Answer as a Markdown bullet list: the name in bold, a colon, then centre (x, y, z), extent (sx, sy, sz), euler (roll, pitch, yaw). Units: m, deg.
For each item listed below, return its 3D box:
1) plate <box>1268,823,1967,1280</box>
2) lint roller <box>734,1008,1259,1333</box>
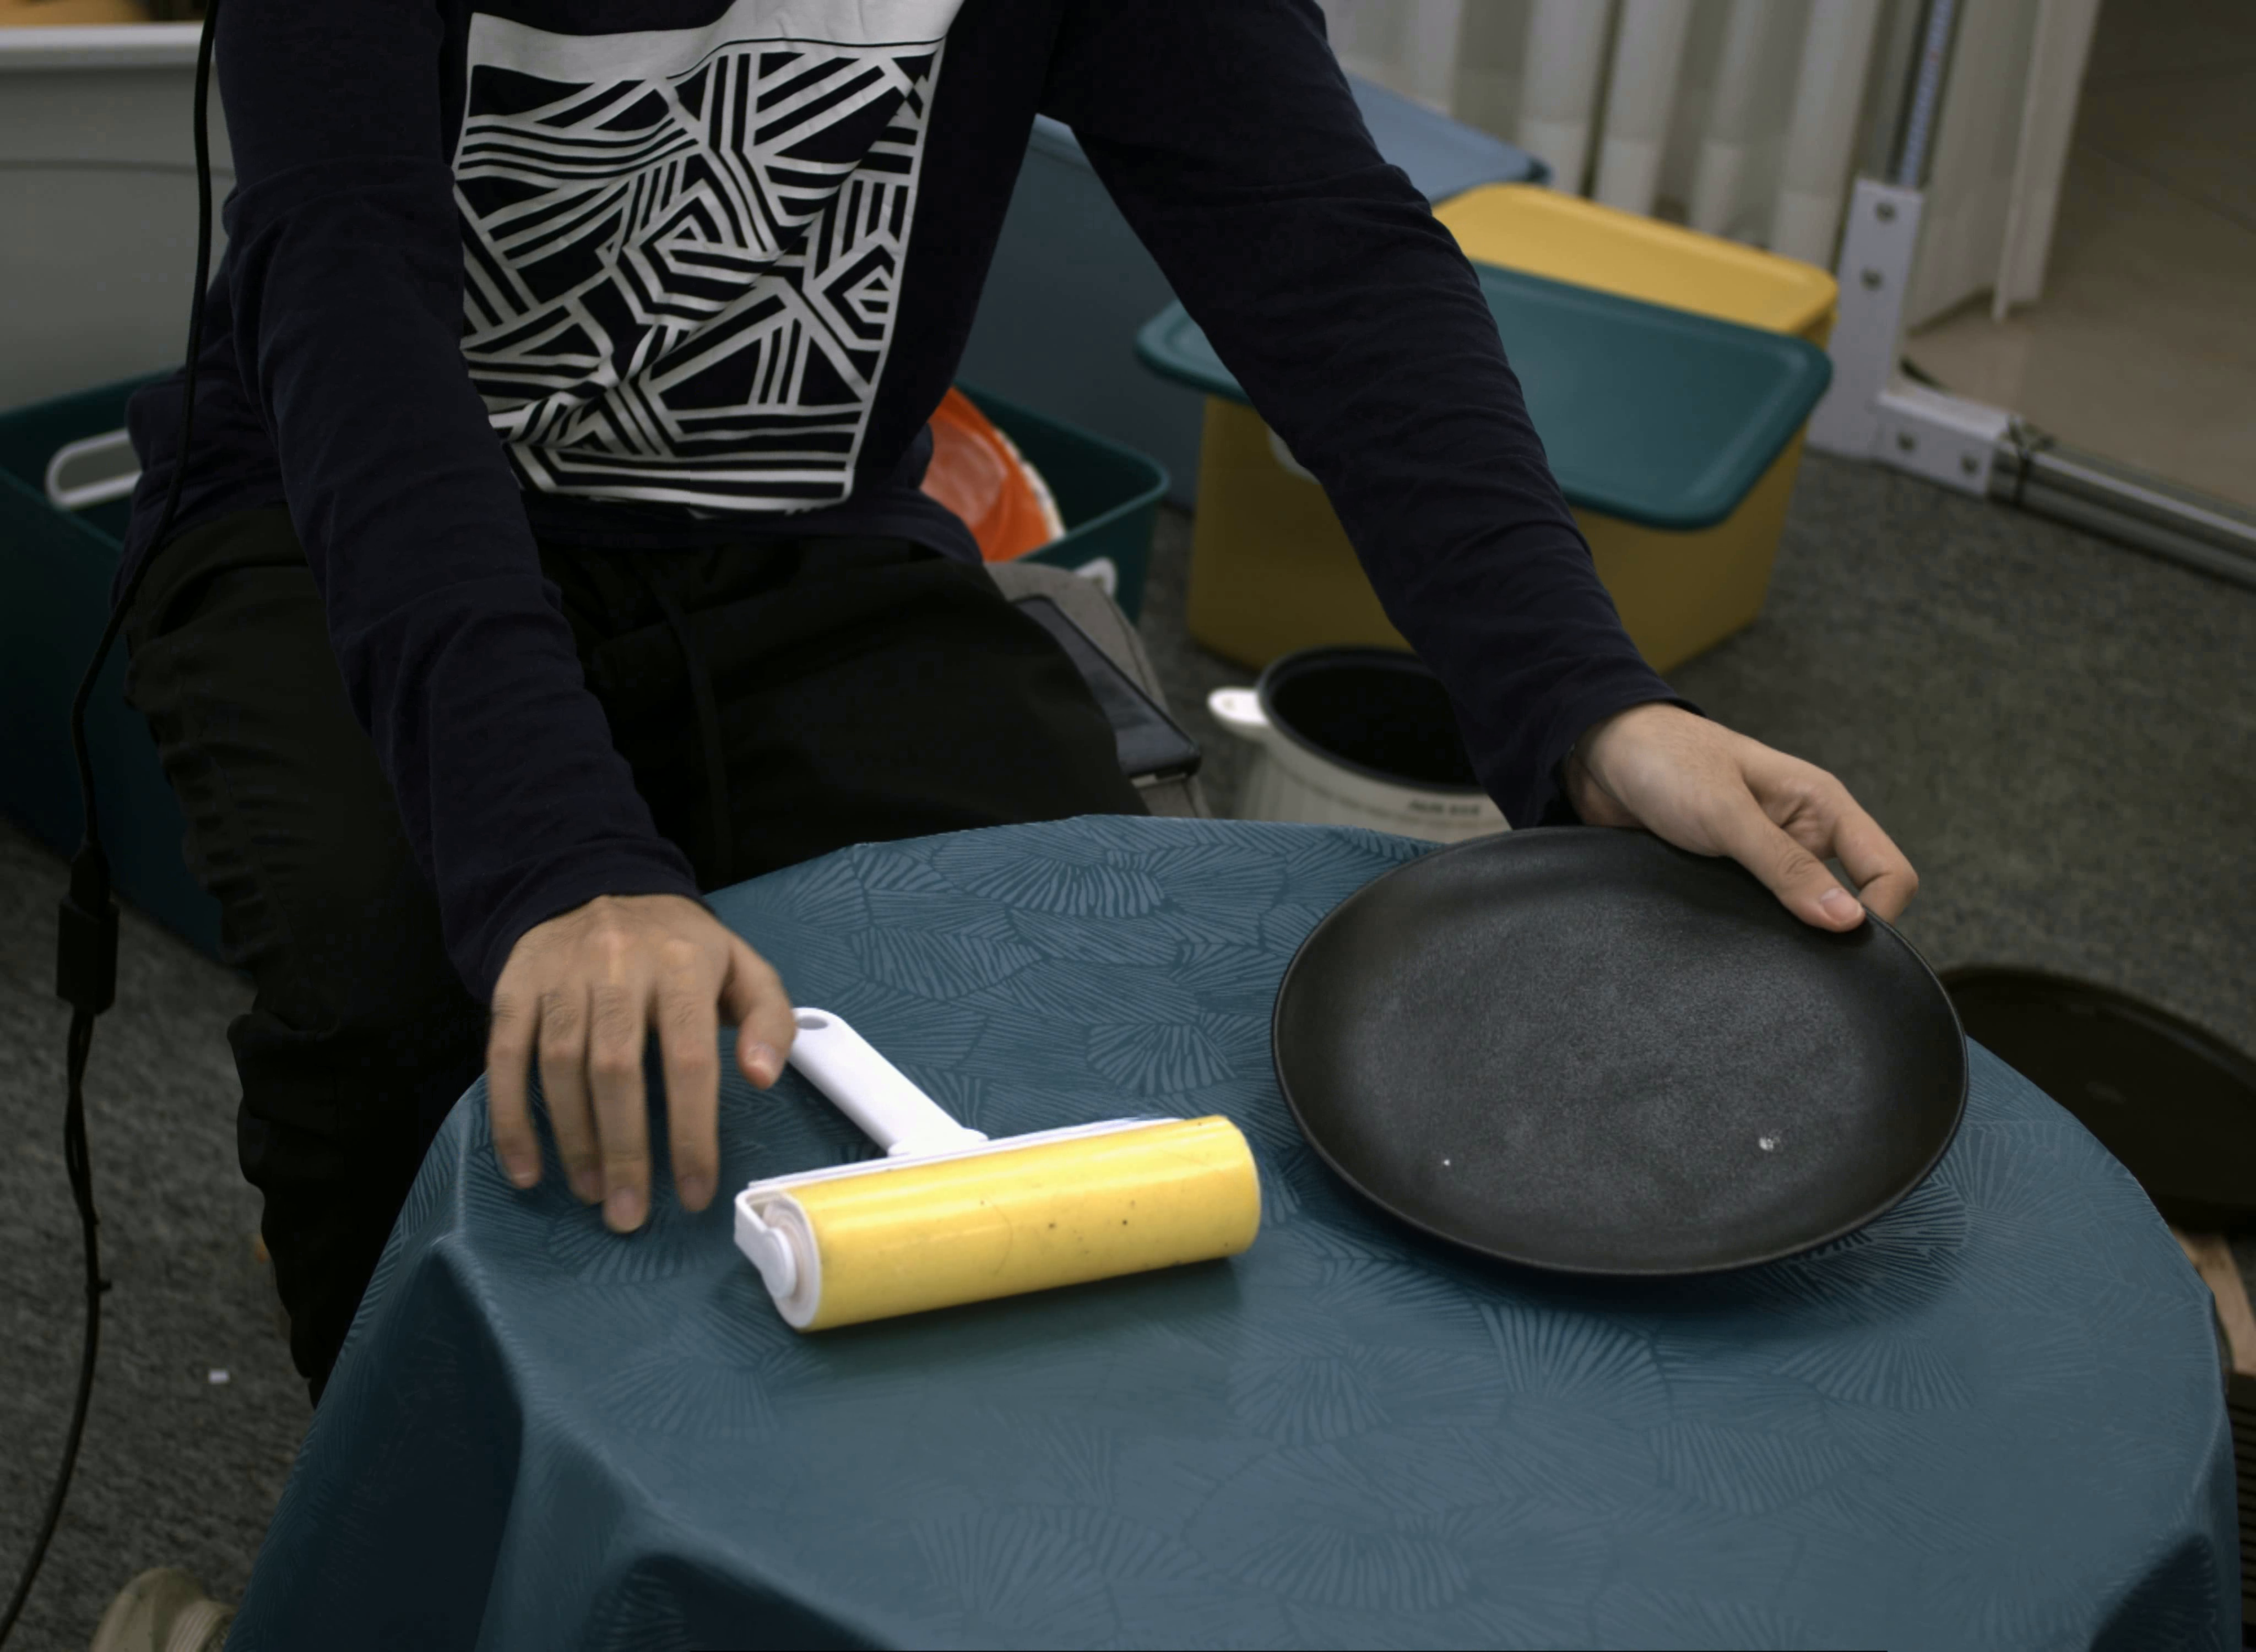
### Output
- **plate**: centre (0.170, 0.081, 1.859), extent (0.244, 0.023, 0.246), euler (-1, 38, 0)
- **lint roller**: centre (-0.073, 0.097, 1.789), extent (0.173, 0.051, 0.194), euler (-8, 33, -28)
